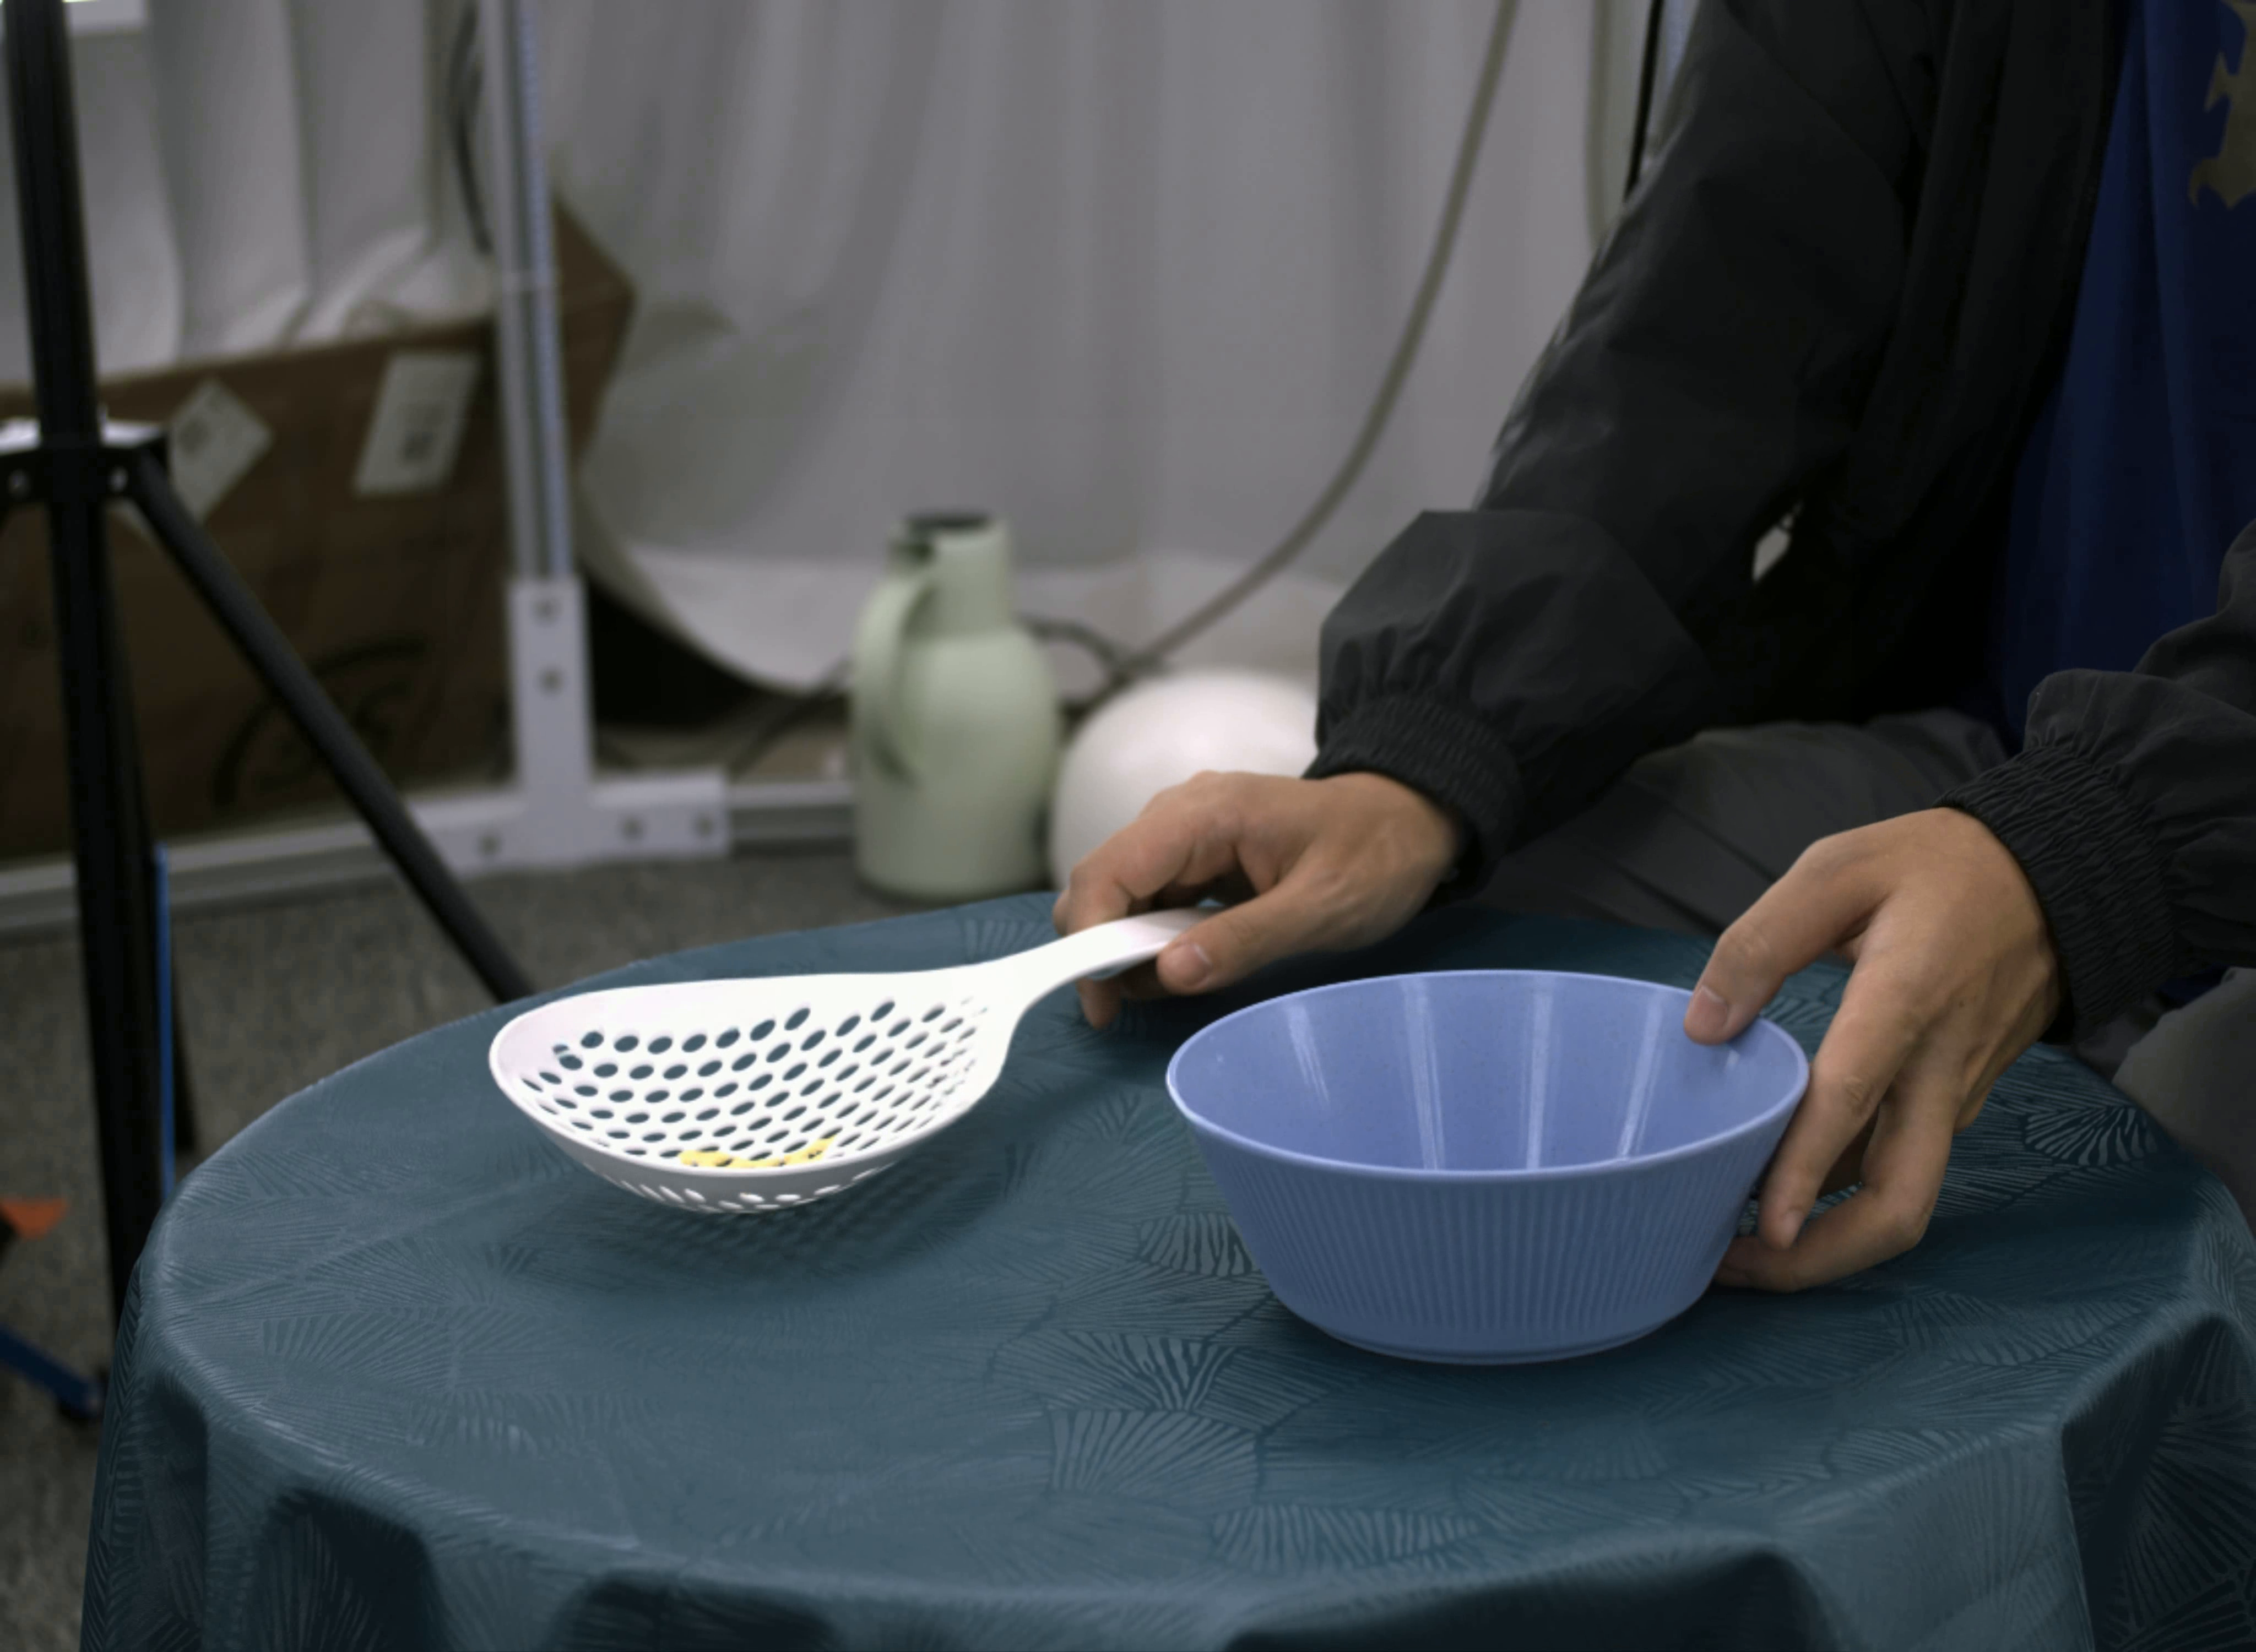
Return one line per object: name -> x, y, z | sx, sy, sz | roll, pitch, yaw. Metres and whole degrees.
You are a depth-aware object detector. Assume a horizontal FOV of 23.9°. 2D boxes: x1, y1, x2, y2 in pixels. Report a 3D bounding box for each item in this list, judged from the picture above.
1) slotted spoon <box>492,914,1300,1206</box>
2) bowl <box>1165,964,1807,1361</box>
slotted spoon -> -0.048, 0.060, 1.643 | 0.140, 0.050, 0.340 | 18, 26, 37
bowl -> 0.099, 0.095, 1.456 | 0.175, 0.070, 0.177 | -2, 16, -1
